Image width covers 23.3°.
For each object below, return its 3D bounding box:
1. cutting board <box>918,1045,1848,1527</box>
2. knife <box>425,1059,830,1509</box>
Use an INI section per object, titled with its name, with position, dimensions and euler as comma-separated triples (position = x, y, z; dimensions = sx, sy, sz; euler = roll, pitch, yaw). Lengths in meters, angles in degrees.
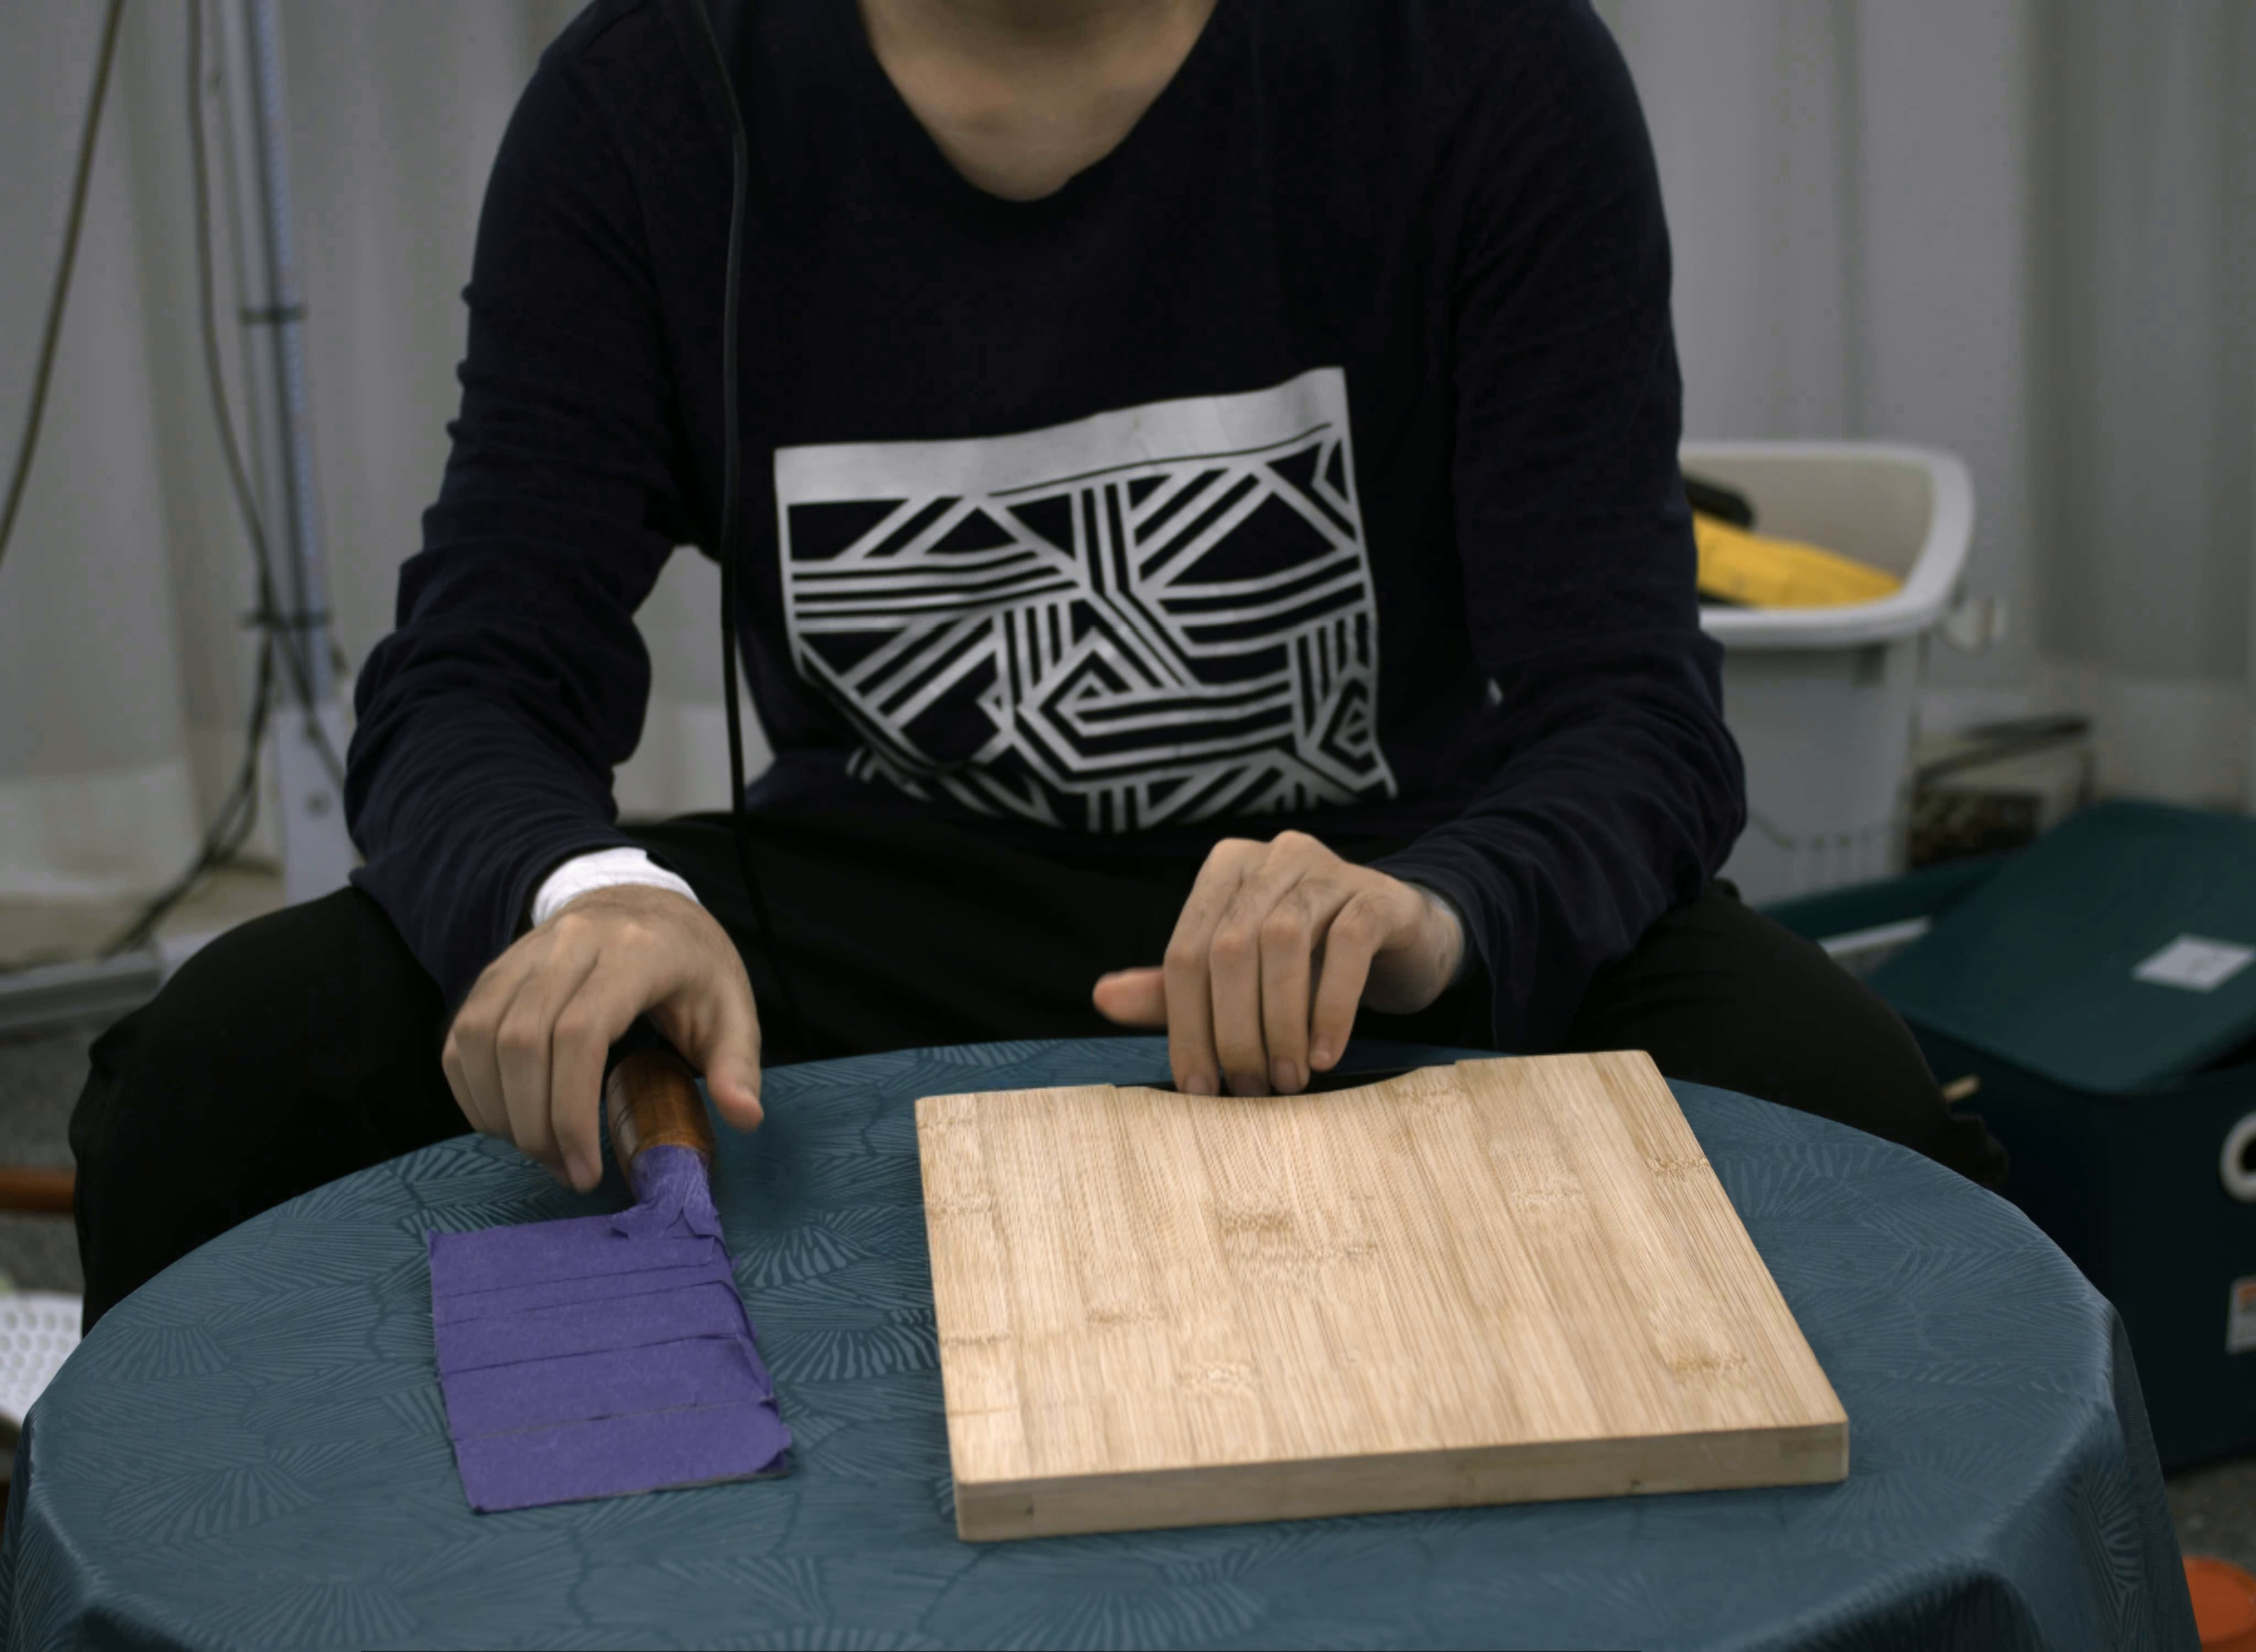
[cutting board]
position = 0.062, 0.131, 1.614
dimensions = 0.250, 0.023, 0.351
euler = -4, 15, -4
[knife]
position = -0.161, 0.132, 1.629
dimensions = 0.103, 0.032, 0.318
euler = -5, 15, -10
